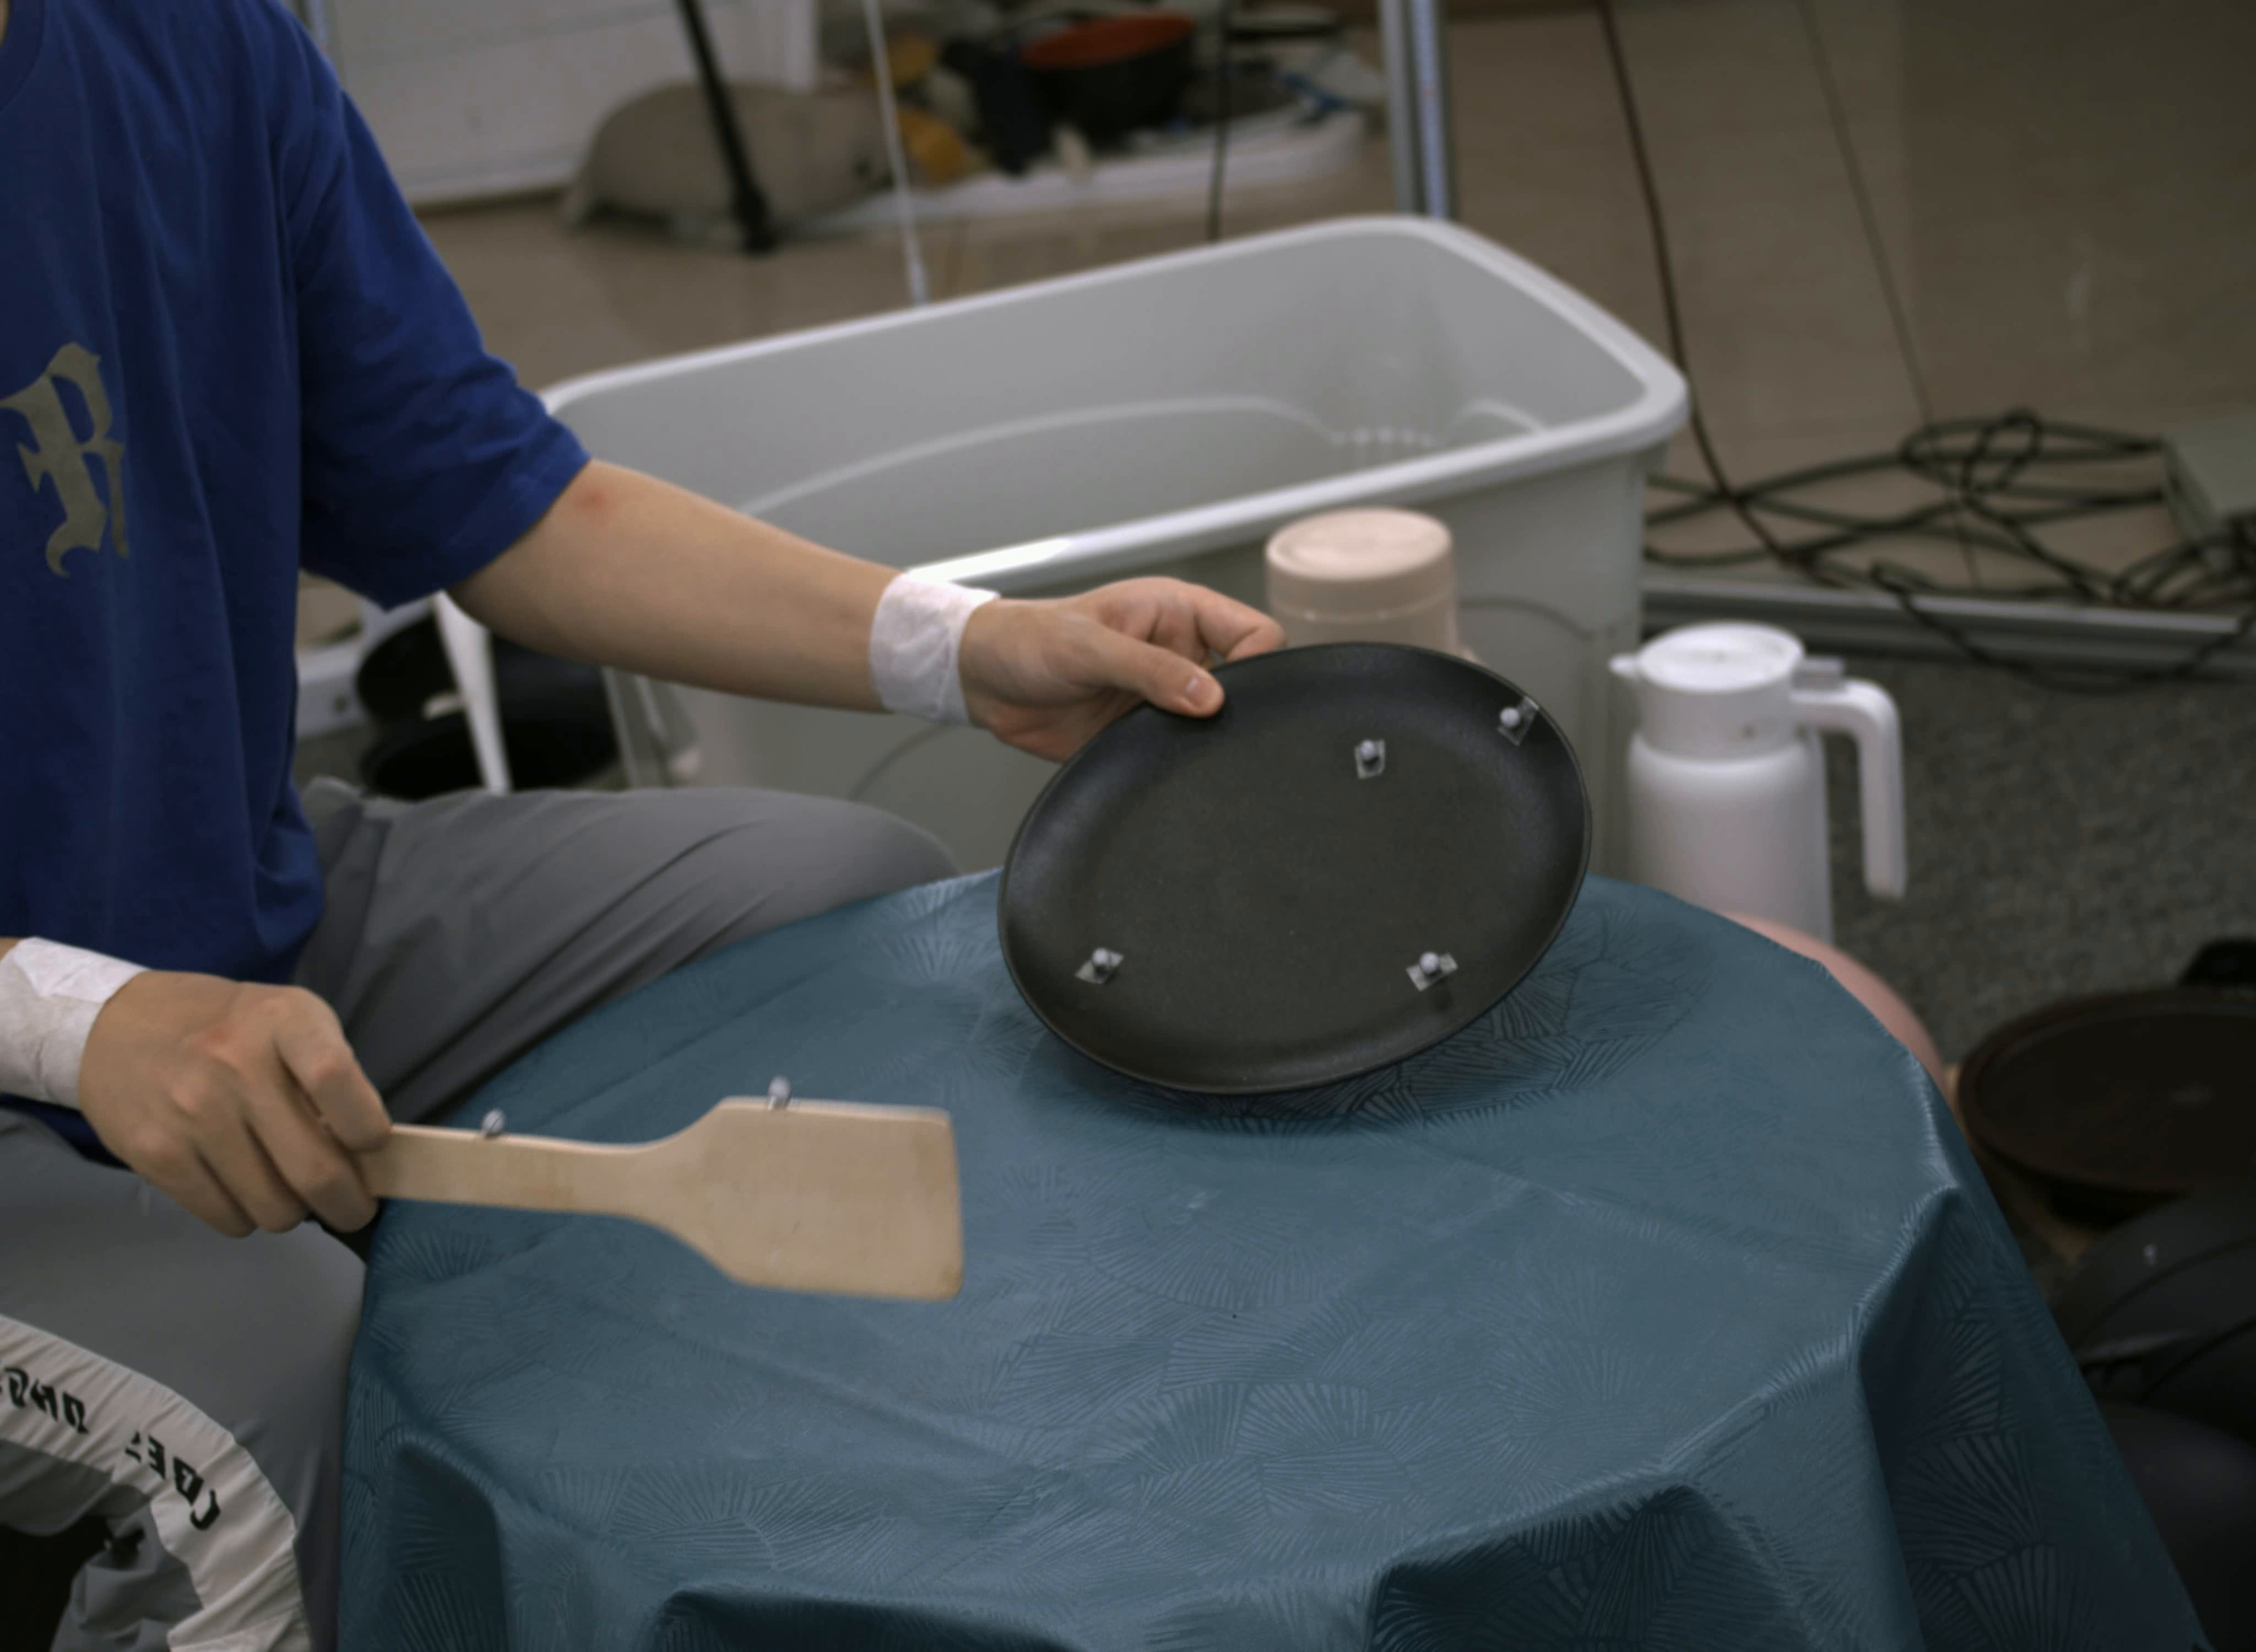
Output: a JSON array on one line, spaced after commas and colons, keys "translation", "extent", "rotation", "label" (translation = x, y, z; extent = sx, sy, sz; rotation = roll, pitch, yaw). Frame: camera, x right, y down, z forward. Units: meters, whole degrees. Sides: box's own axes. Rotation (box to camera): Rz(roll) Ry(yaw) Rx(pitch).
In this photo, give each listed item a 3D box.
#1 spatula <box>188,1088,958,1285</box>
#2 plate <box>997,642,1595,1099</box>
[{"translation": [-0.199, 0.118, 1.987], "extent": [0.292, 0.073, 0.010], "rotation": [3, 23, 18], "label": "spatula"}, {"translation": [0.068, 0.021, 2.260], "extent": [0.244, 0.024, 0.240], "rotation": [-10, 47, 10], "label": "plate"}]
